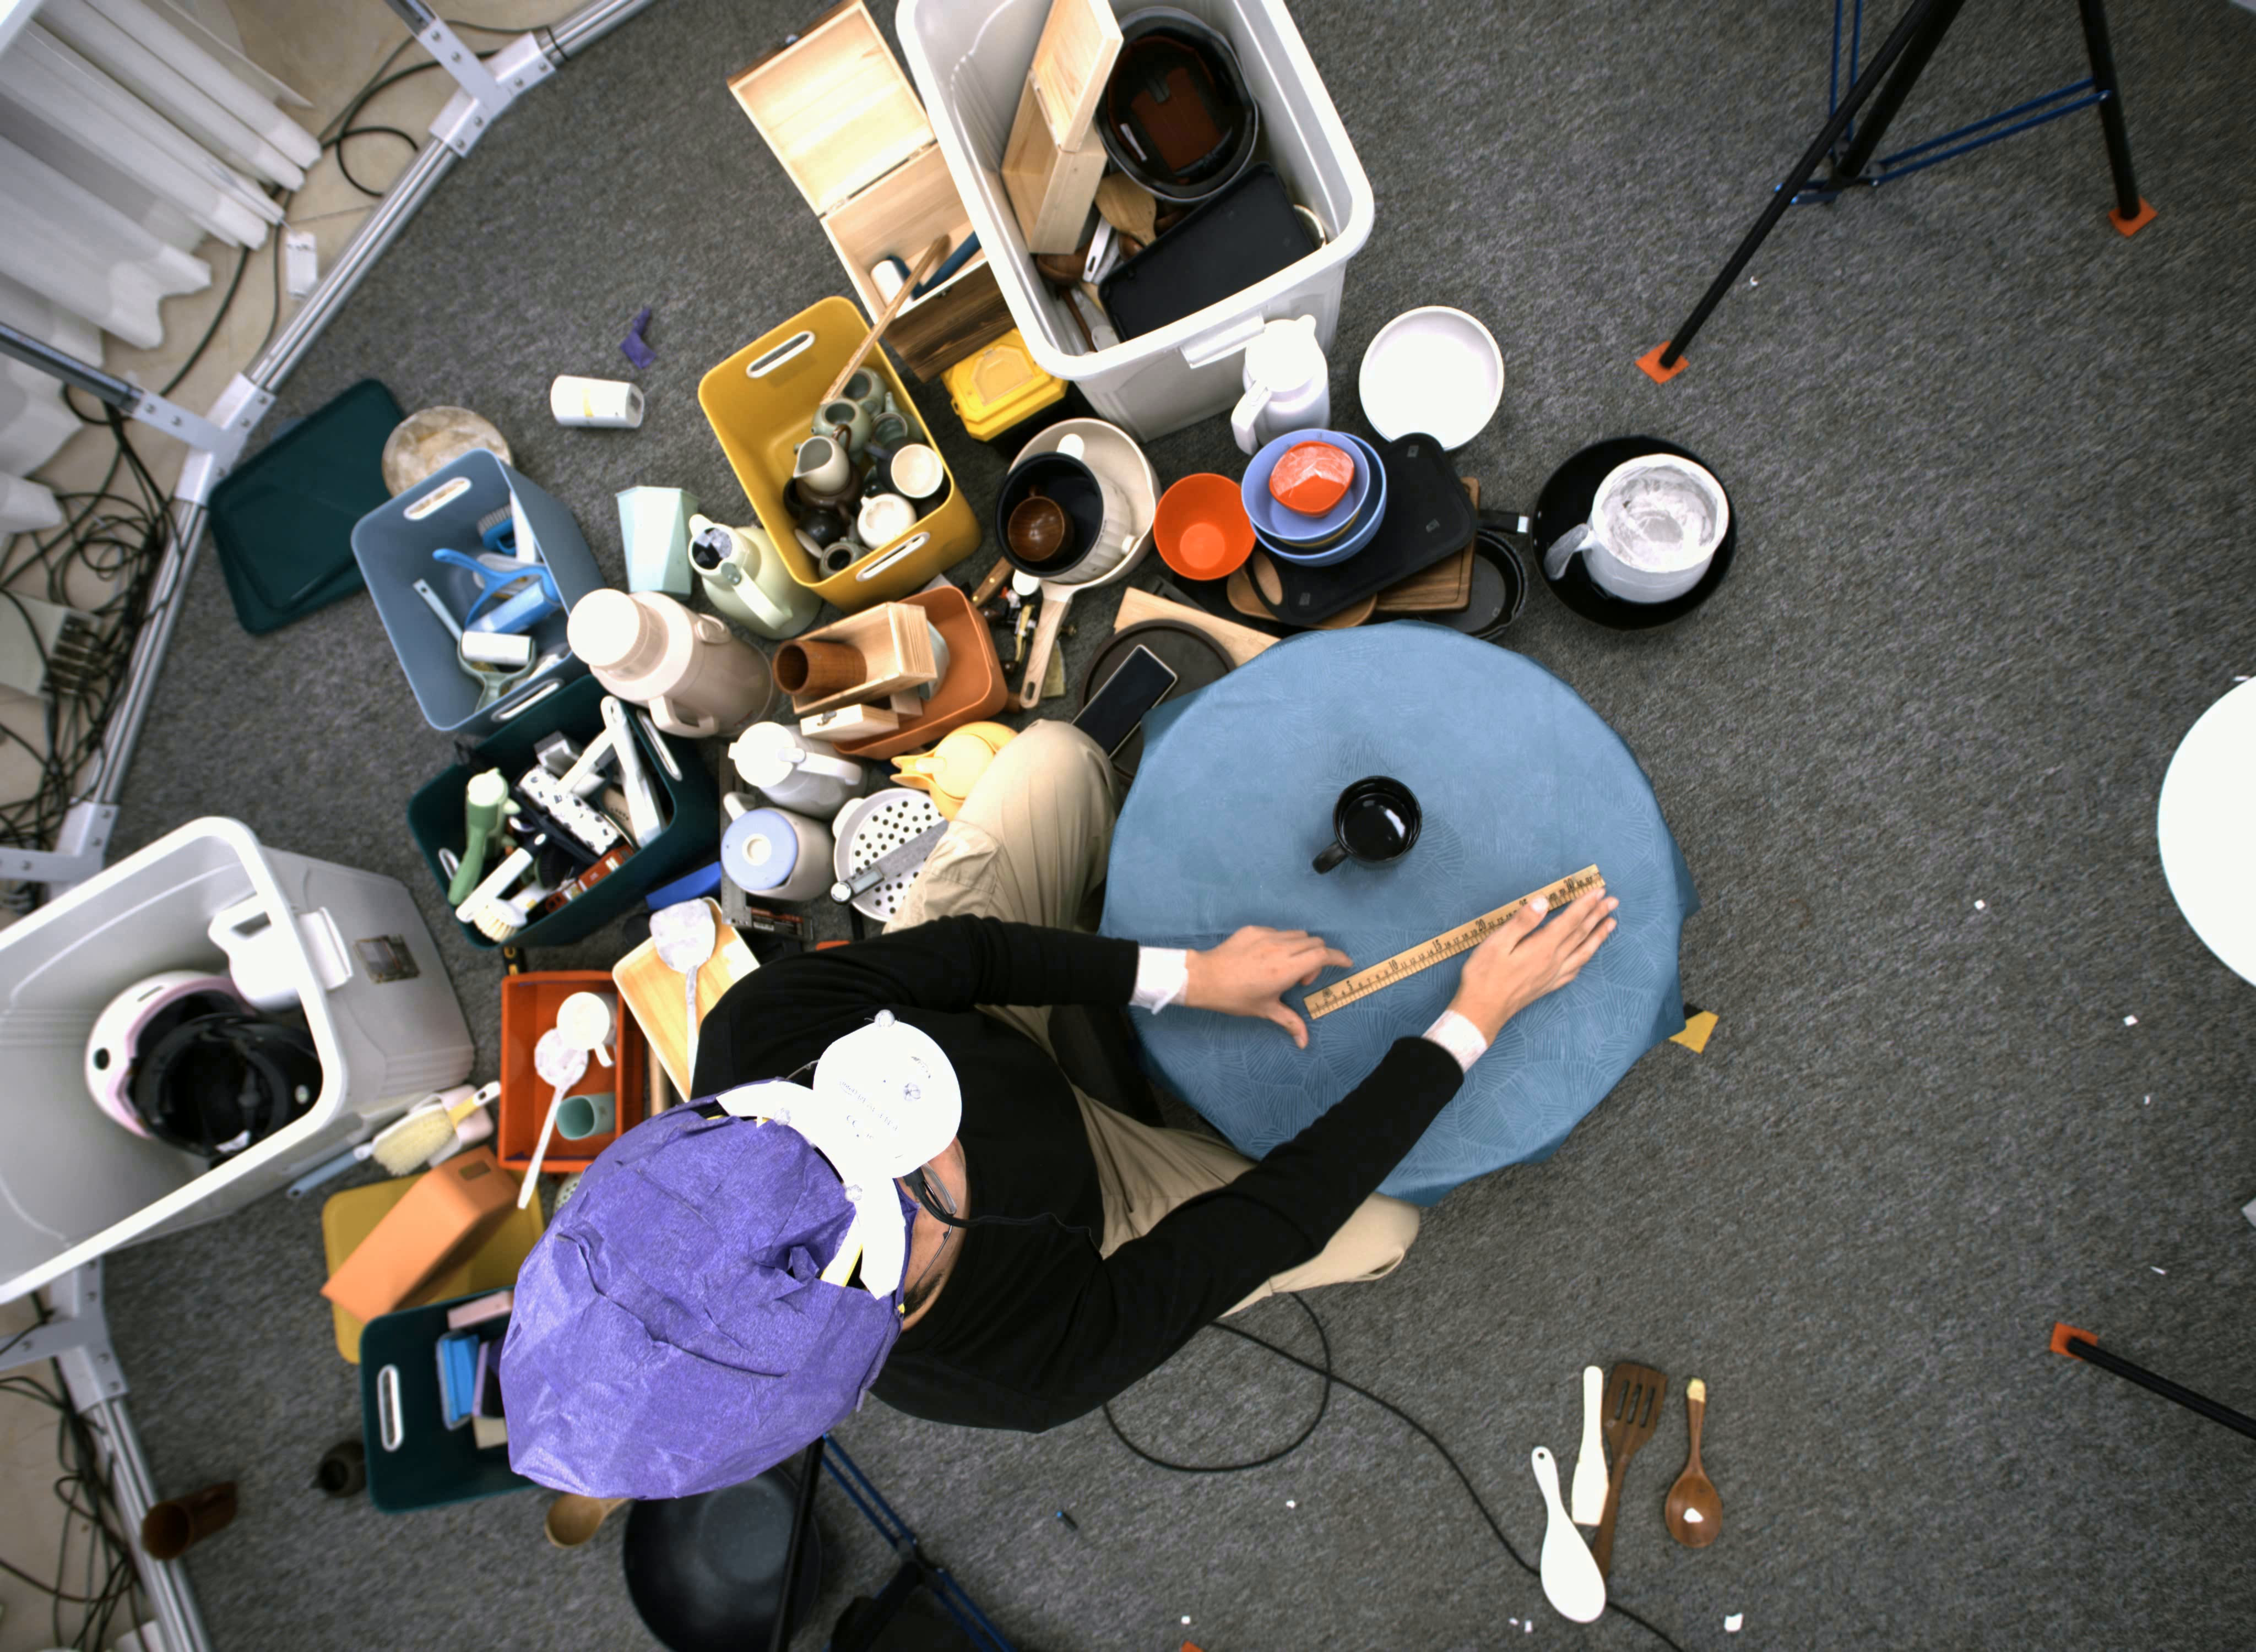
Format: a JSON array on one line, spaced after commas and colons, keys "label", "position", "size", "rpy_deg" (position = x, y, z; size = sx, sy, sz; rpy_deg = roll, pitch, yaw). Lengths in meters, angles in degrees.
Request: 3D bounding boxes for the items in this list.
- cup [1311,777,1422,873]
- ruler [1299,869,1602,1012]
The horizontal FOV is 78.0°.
[{"label": "cup", "position": [0.241, 0.007, 1.417], "size": [0.124, 0.105, 0.088], "rpy_deg": [-35, 82, 7]}, {"label": "ruler", "position": [0.336, 0.118, 1.439], "size": [0.333, 0.022, 0.027], "rpy_deg": [-24, 78, 7]}]
